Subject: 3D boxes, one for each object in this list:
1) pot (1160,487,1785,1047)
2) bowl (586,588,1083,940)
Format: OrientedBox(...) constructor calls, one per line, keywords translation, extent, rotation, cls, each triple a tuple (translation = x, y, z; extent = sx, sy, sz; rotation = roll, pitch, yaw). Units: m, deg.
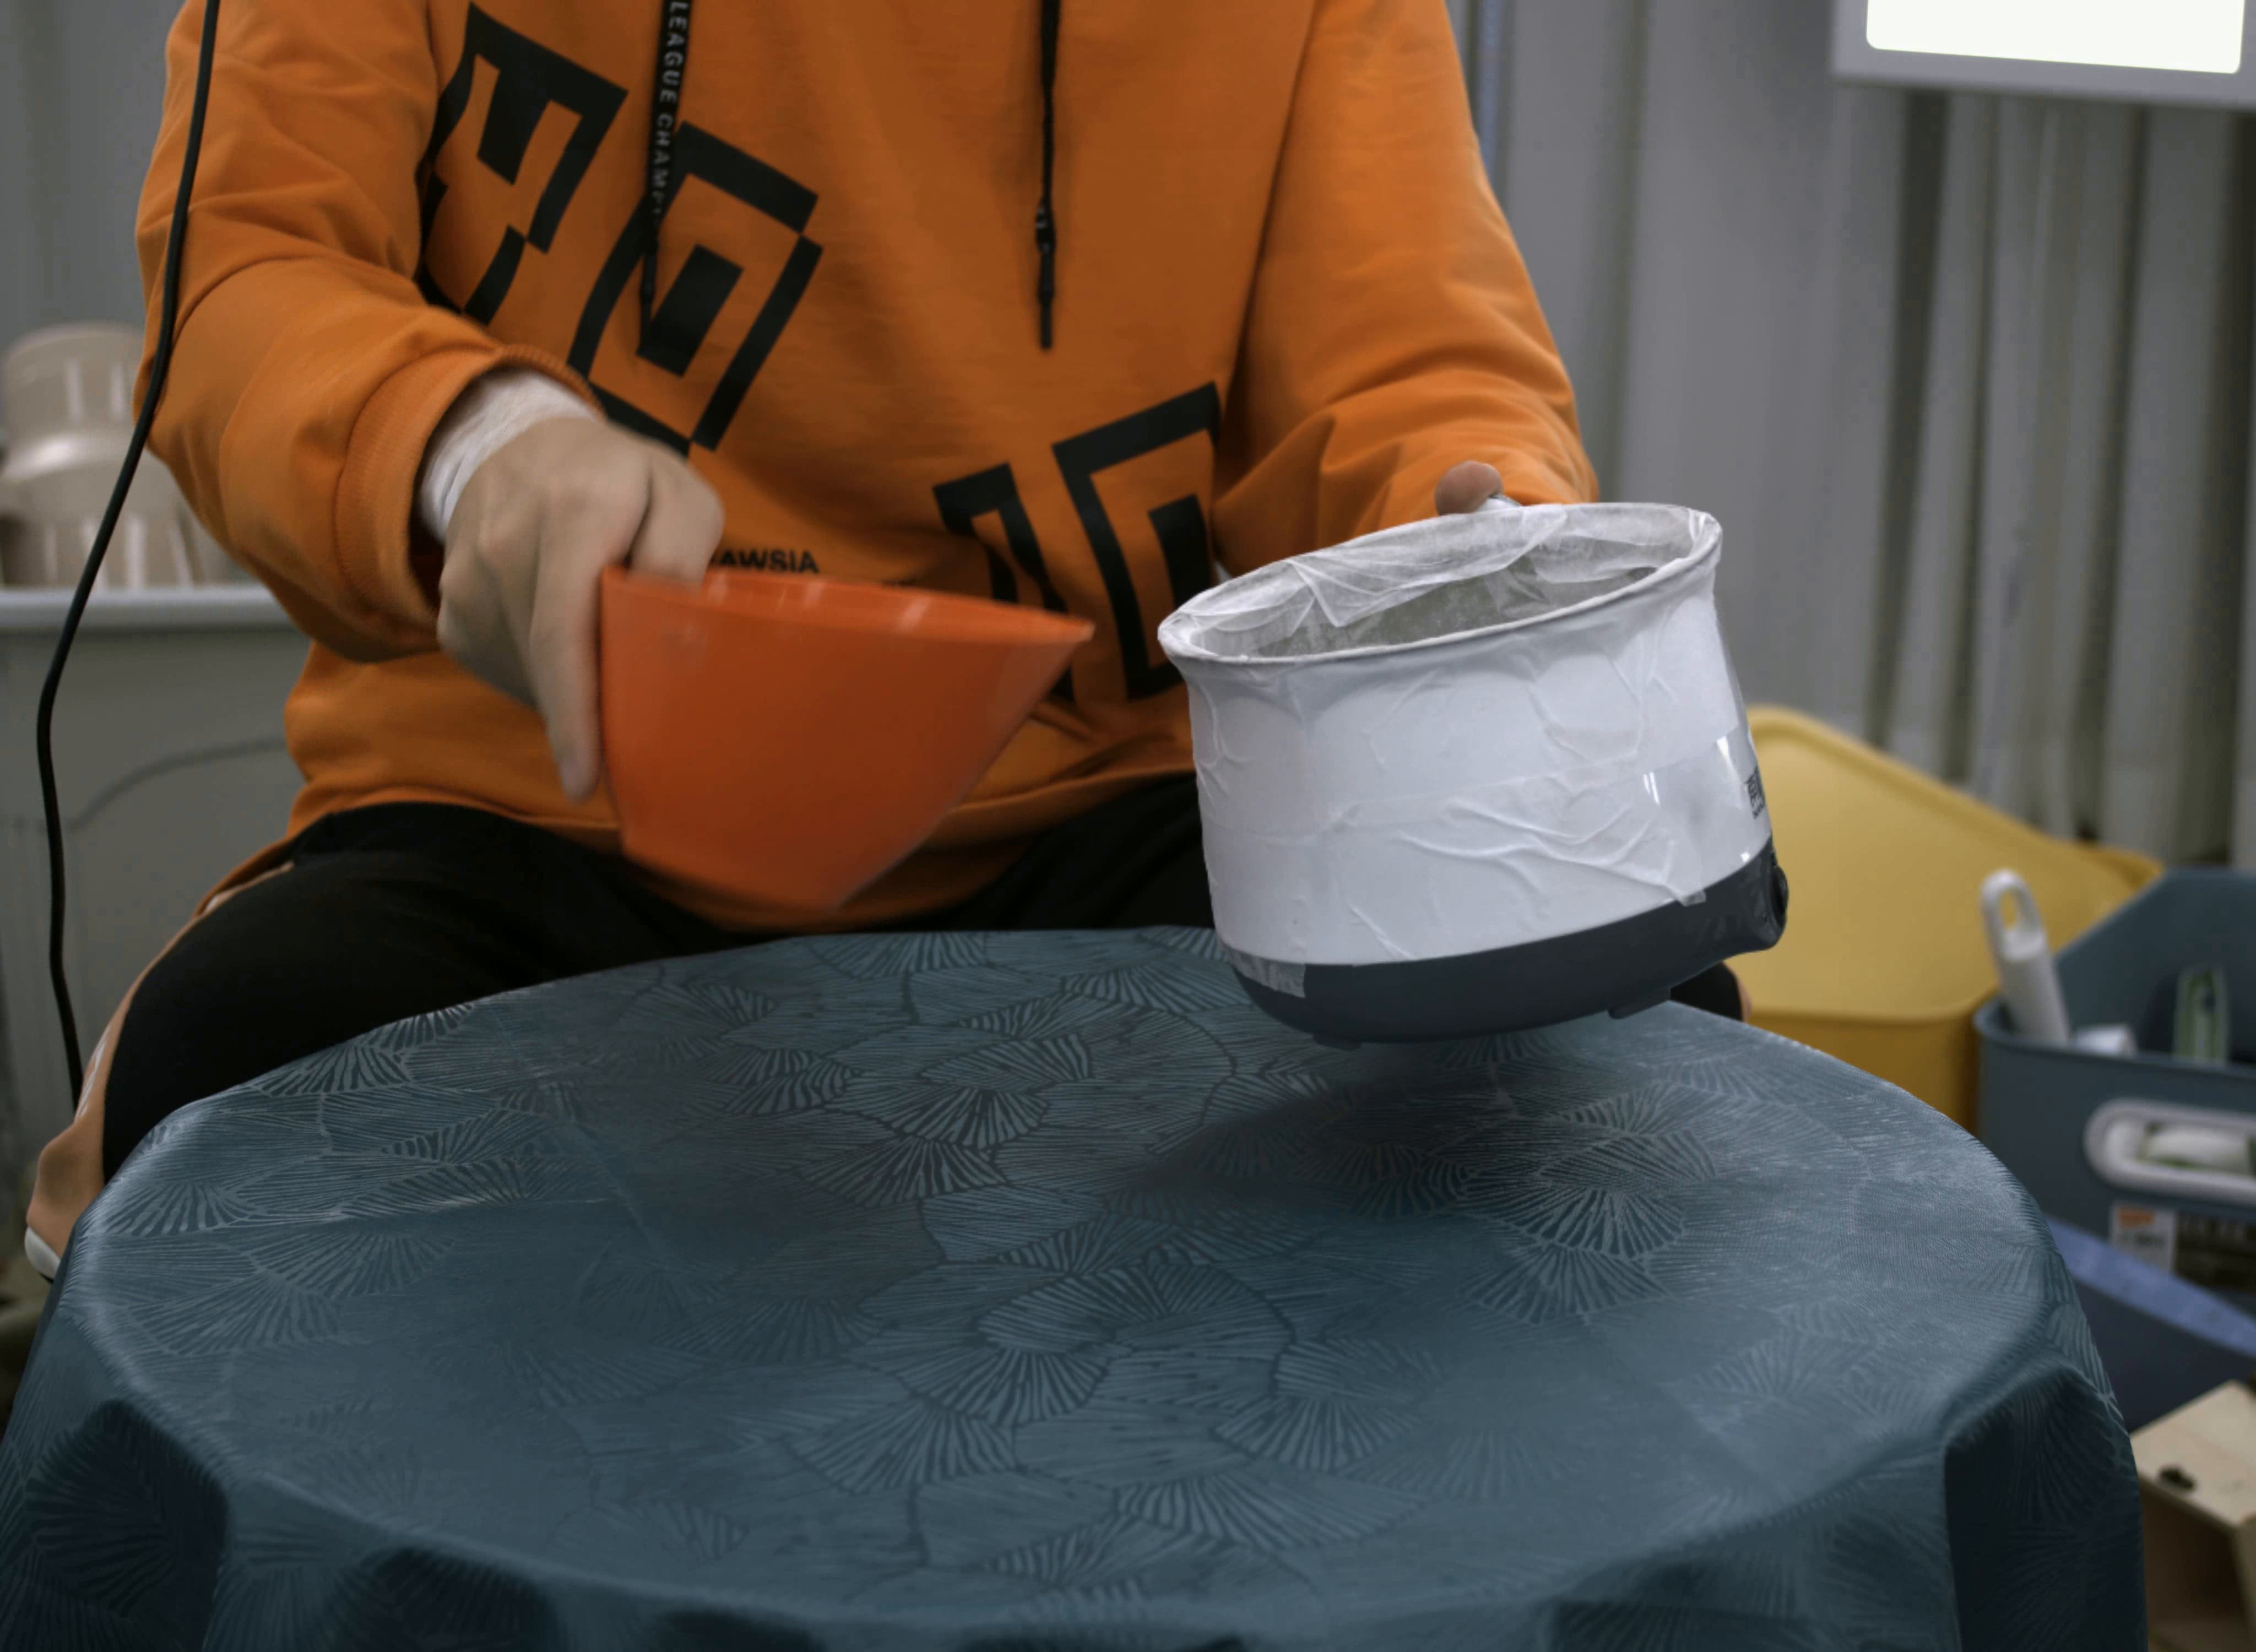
OrientedBox(translation=(0.113, -0.025, 1.663), extent=(0.177, 0.138, 0.233), rotation=(-7, 15, 13), cls="pot")
OrientedBox(translation=(-0.098, -0.022, 1.580), extent=(0.147, 0.105, 0.148), rotation=(15, 5, -1), cls="bowl")
